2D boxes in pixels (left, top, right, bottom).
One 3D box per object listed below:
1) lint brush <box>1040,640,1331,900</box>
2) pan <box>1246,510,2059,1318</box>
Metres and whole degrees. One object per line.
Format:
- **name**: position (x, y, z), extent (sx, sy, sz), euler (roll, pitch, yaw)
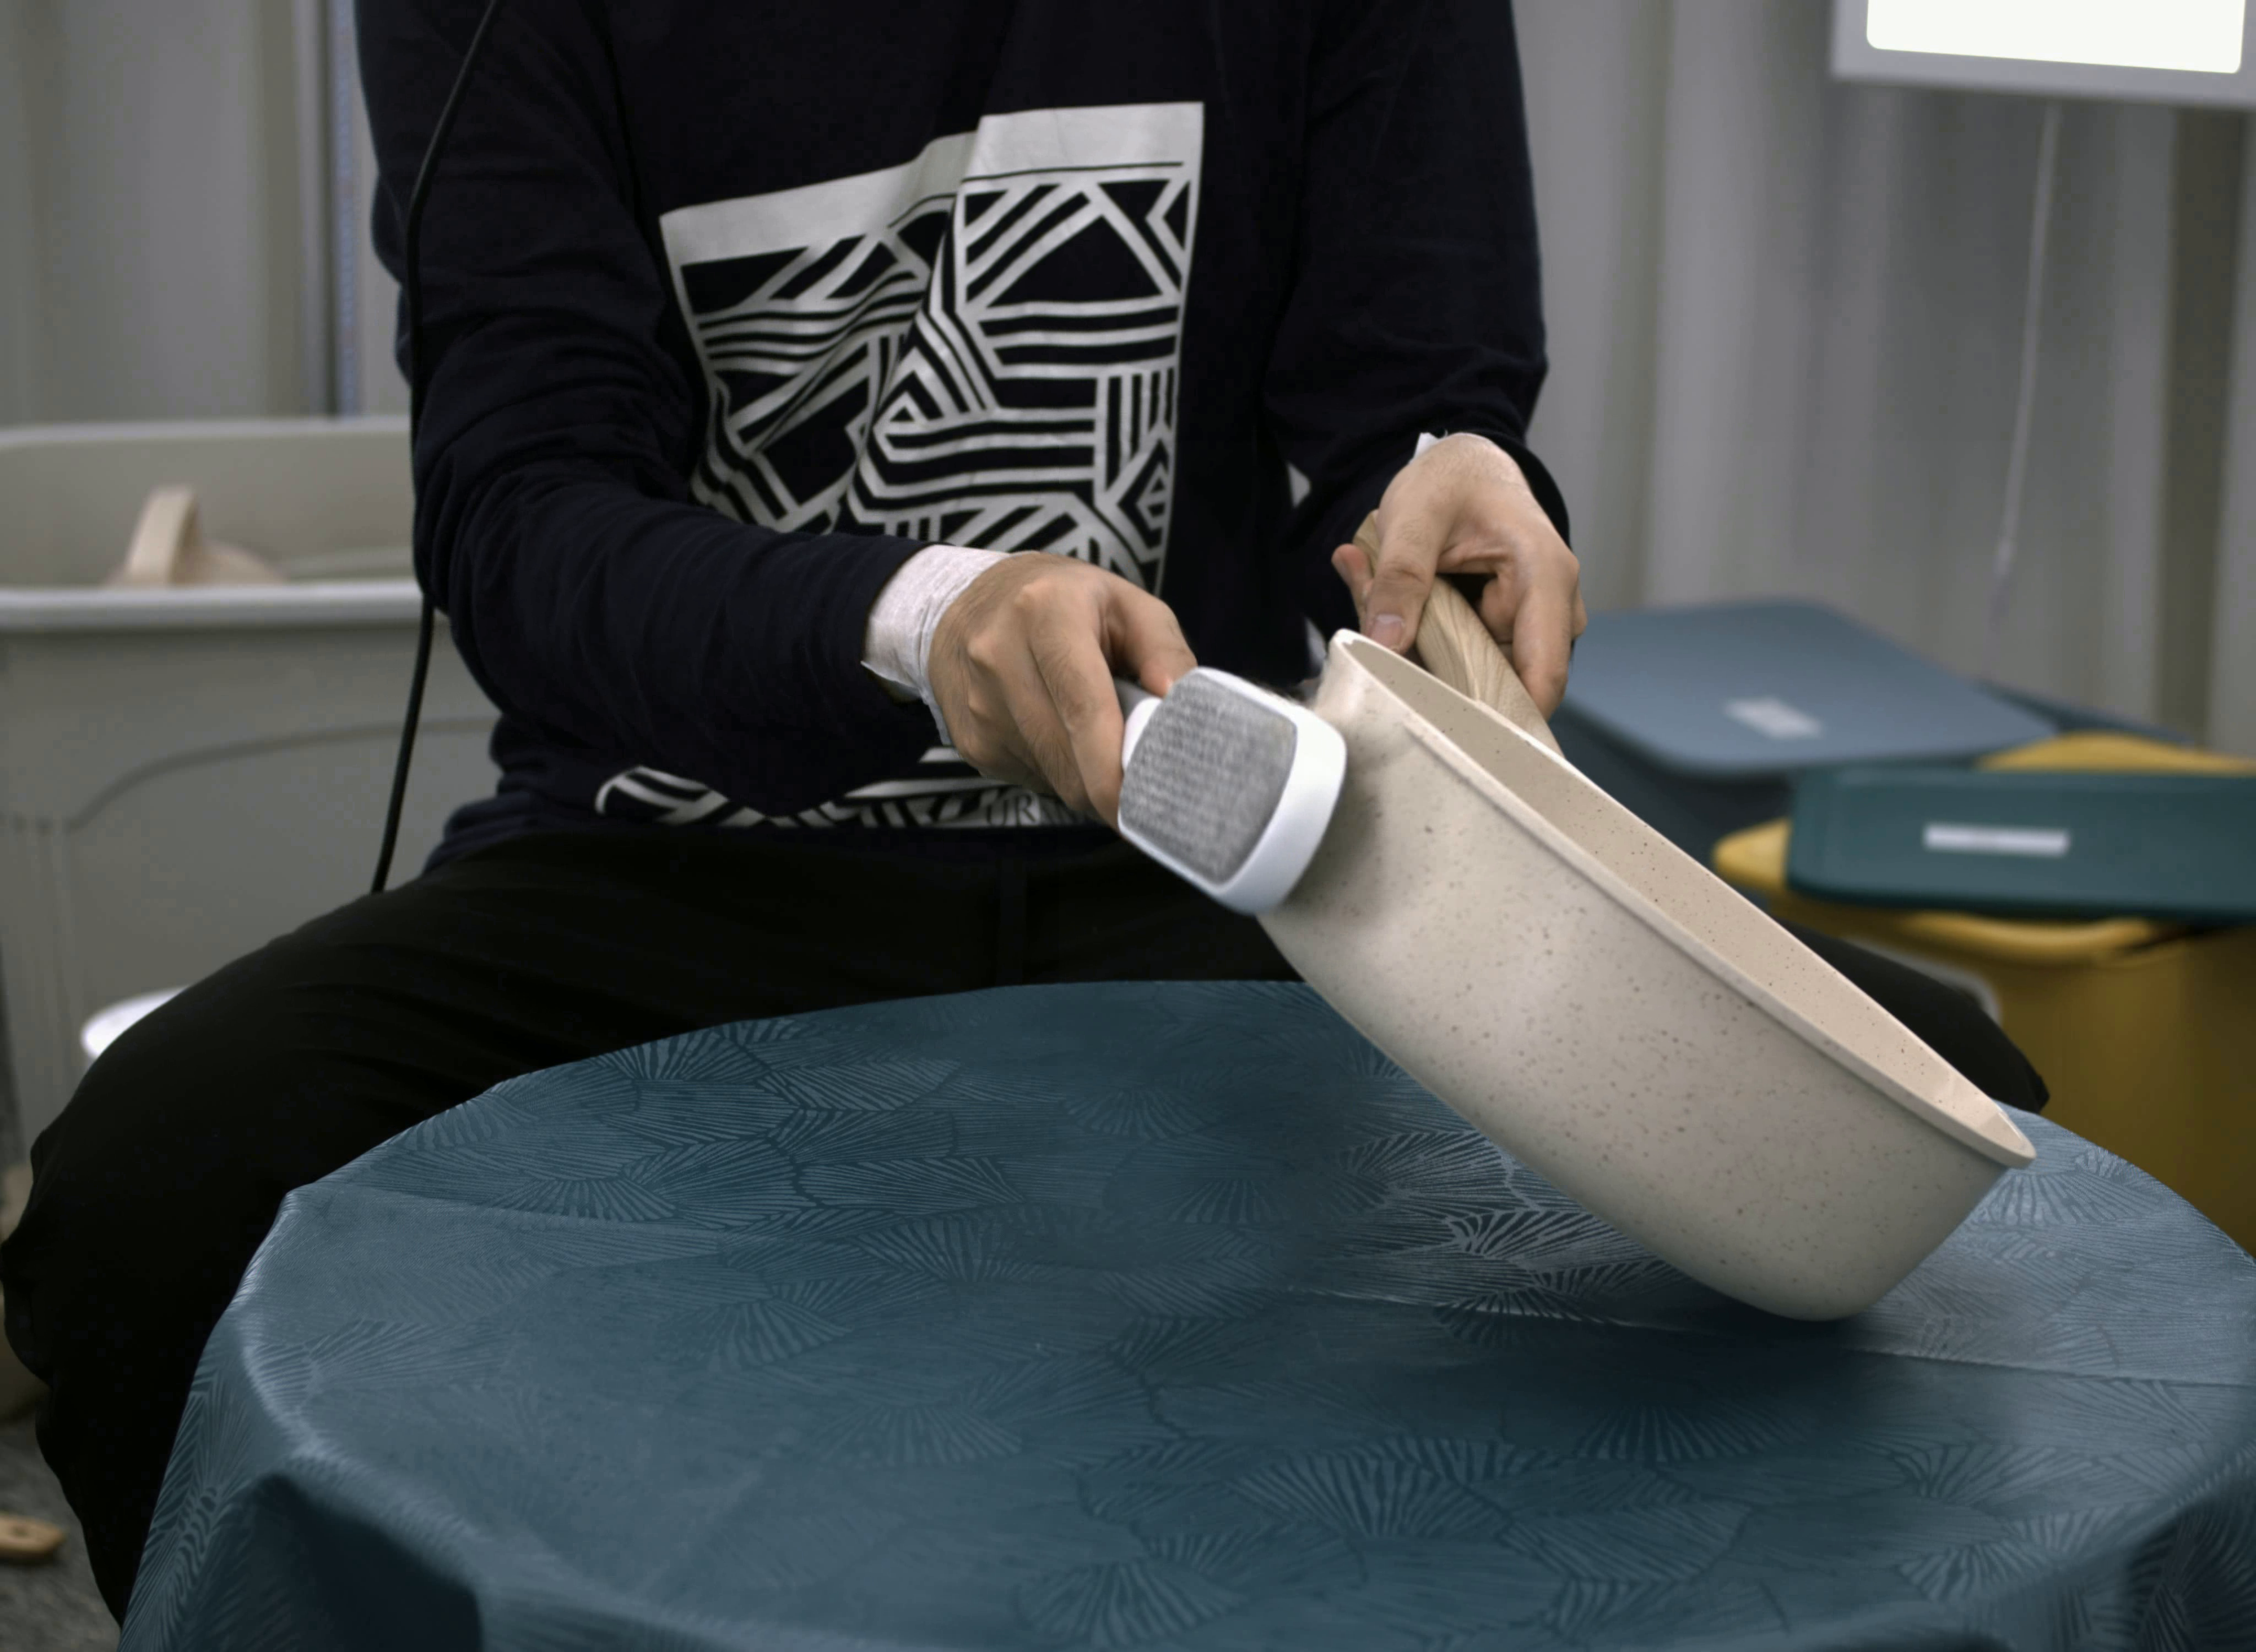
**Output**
- **lint brush**: position (0.012, -0.025, 1.553), extent (0.021, 0.060, 0.307), euler (22, 3, -14)
- **pan**: position (0.121, 0.013, 1.600), extent (0.266, 0.102, 0.430), euler (30, 10, -25)
